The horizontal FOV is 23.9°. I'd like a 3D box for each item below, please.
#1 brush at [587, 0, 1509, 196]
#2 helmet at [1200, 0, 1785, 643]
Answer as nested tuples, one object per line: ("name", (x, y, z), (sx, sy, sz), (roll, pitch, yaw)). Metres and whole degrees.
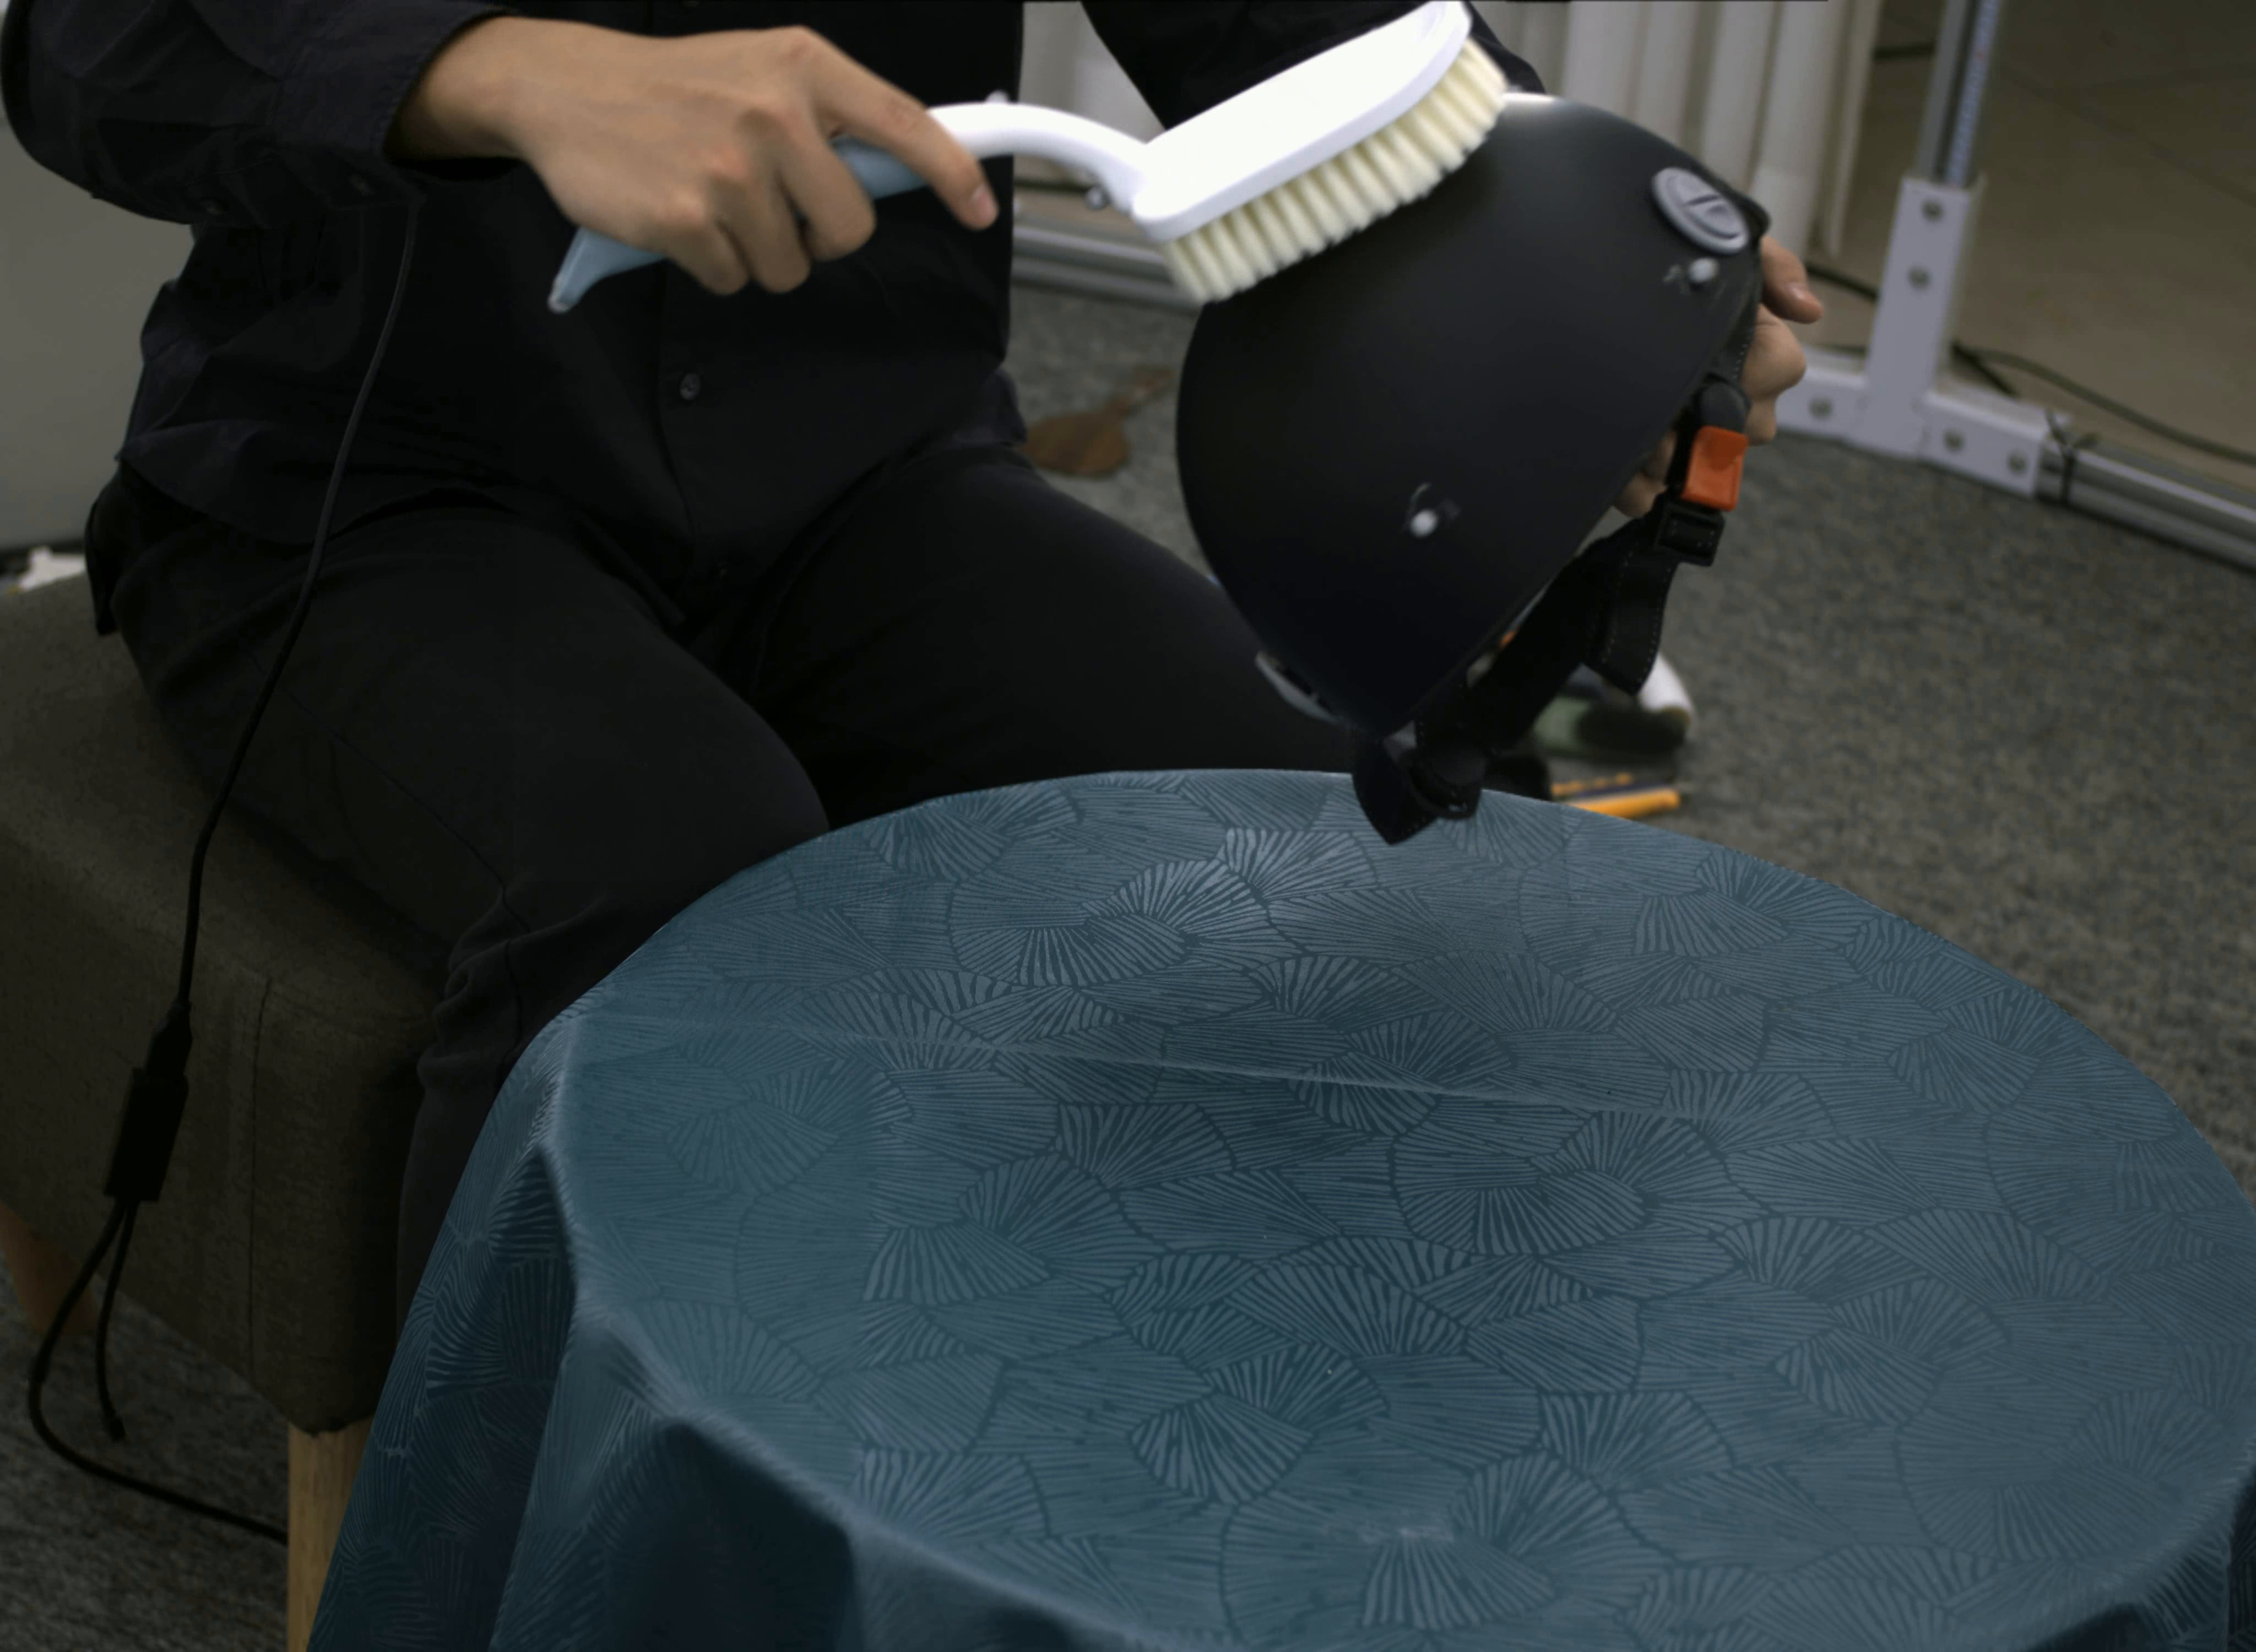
("brush", (-0.022, -0.240, 1.812), (0.325, 0.085, 0.083), (-16, -12, 6))
("helmet", (0.116, -0.194, 1.874), (0.167, 0.230, 0.273), (38, 21, 1))
